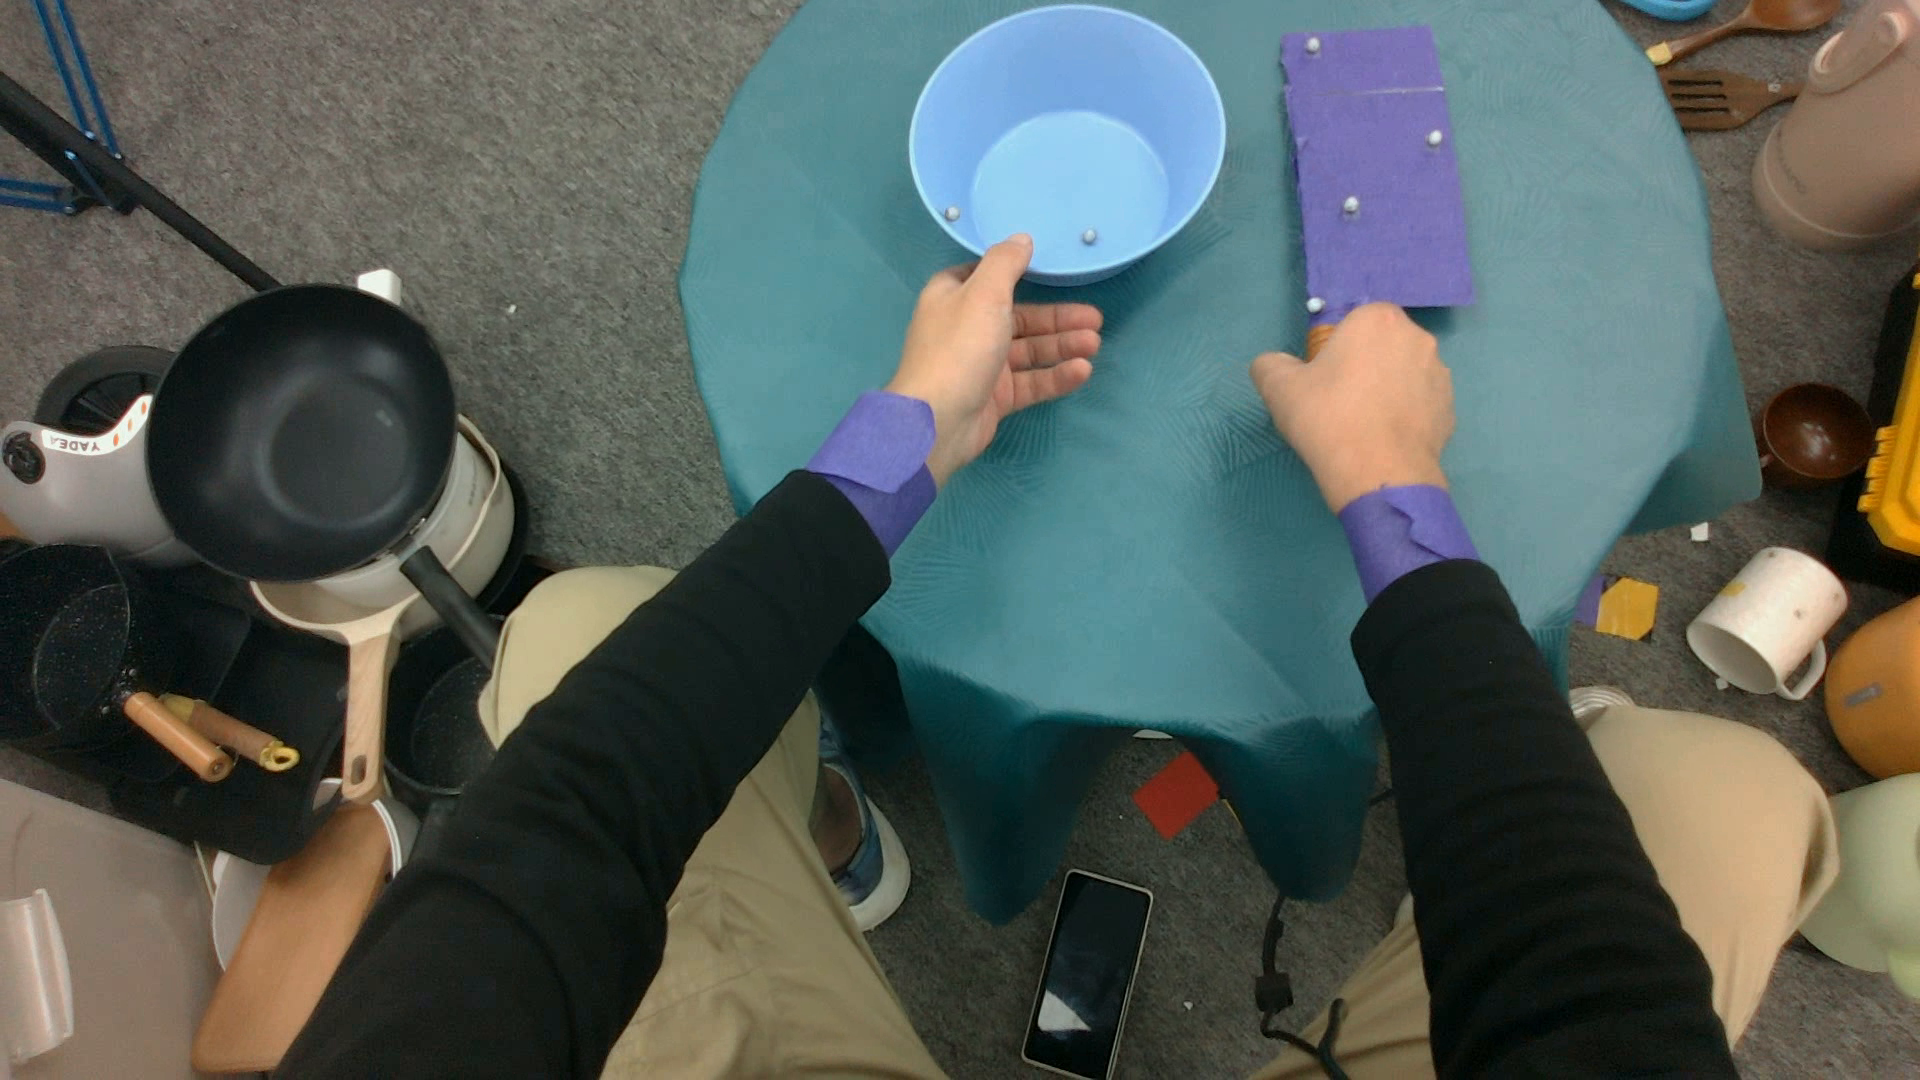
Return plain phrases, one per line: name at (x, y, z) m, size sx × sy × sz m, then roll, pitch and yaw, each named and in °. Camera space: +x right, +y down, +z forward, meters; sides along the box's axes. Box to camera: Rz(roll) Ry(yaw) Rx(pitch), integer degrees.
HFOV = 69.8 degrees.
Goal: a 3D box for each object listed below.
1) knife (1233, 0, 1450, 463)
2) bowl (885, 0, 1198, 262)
knife at (0.224, -0.191, 0.781) m, size 0.104 × 0.032 × 0.316 m, roll -4°, pitch 66°, yaw 4°
bowl at (0.048, -0.229, 0.798) m, size 0.176 × 0.070 × 0.176 m, roll -2°, pitch 71°, yaw 6°
